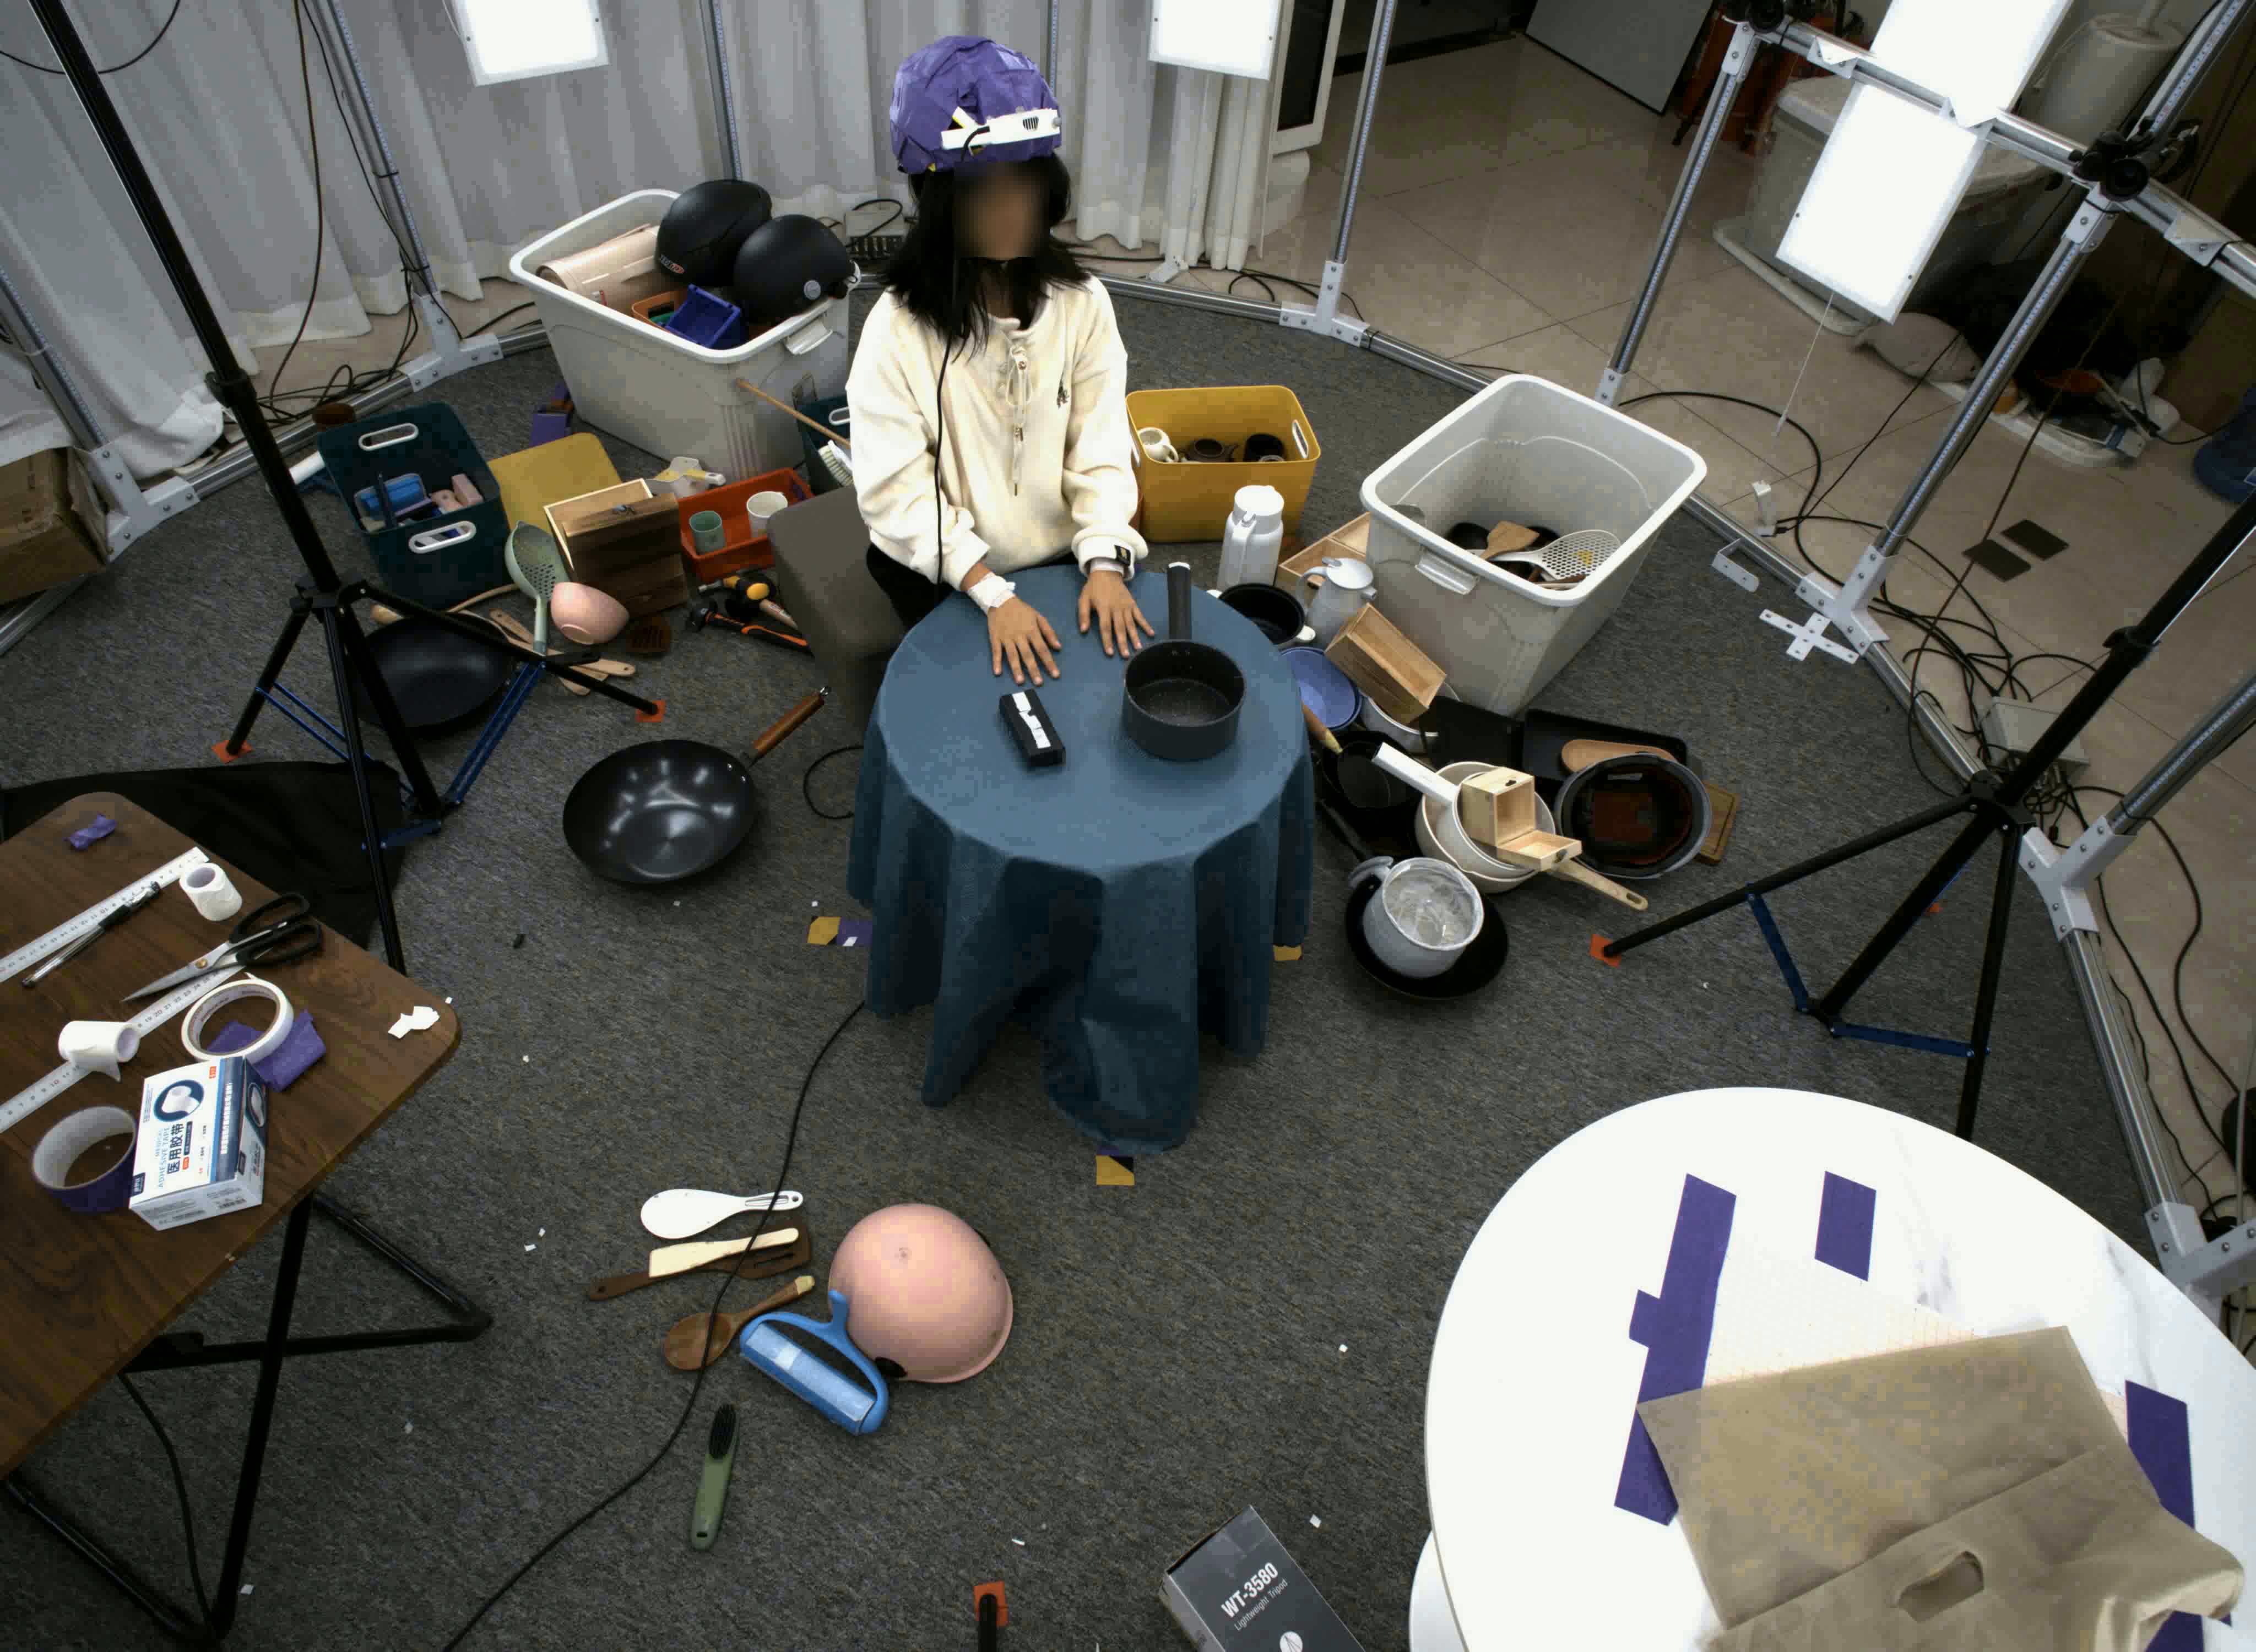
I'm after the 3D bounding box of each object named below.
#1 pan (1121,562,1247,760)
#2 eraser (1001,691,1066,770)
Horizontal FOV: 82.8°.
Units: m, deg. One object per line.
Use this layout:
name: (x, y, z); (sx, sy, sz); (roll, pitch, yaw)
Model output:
pan: (0.077, -0.237, 1.827); (0.172, 0.084, 0.337); (4, 50, -1)
eraser: (-0.130, -0.132, 1.759); (0.053, 0.030, 0.128); (-14, 50, -16)
